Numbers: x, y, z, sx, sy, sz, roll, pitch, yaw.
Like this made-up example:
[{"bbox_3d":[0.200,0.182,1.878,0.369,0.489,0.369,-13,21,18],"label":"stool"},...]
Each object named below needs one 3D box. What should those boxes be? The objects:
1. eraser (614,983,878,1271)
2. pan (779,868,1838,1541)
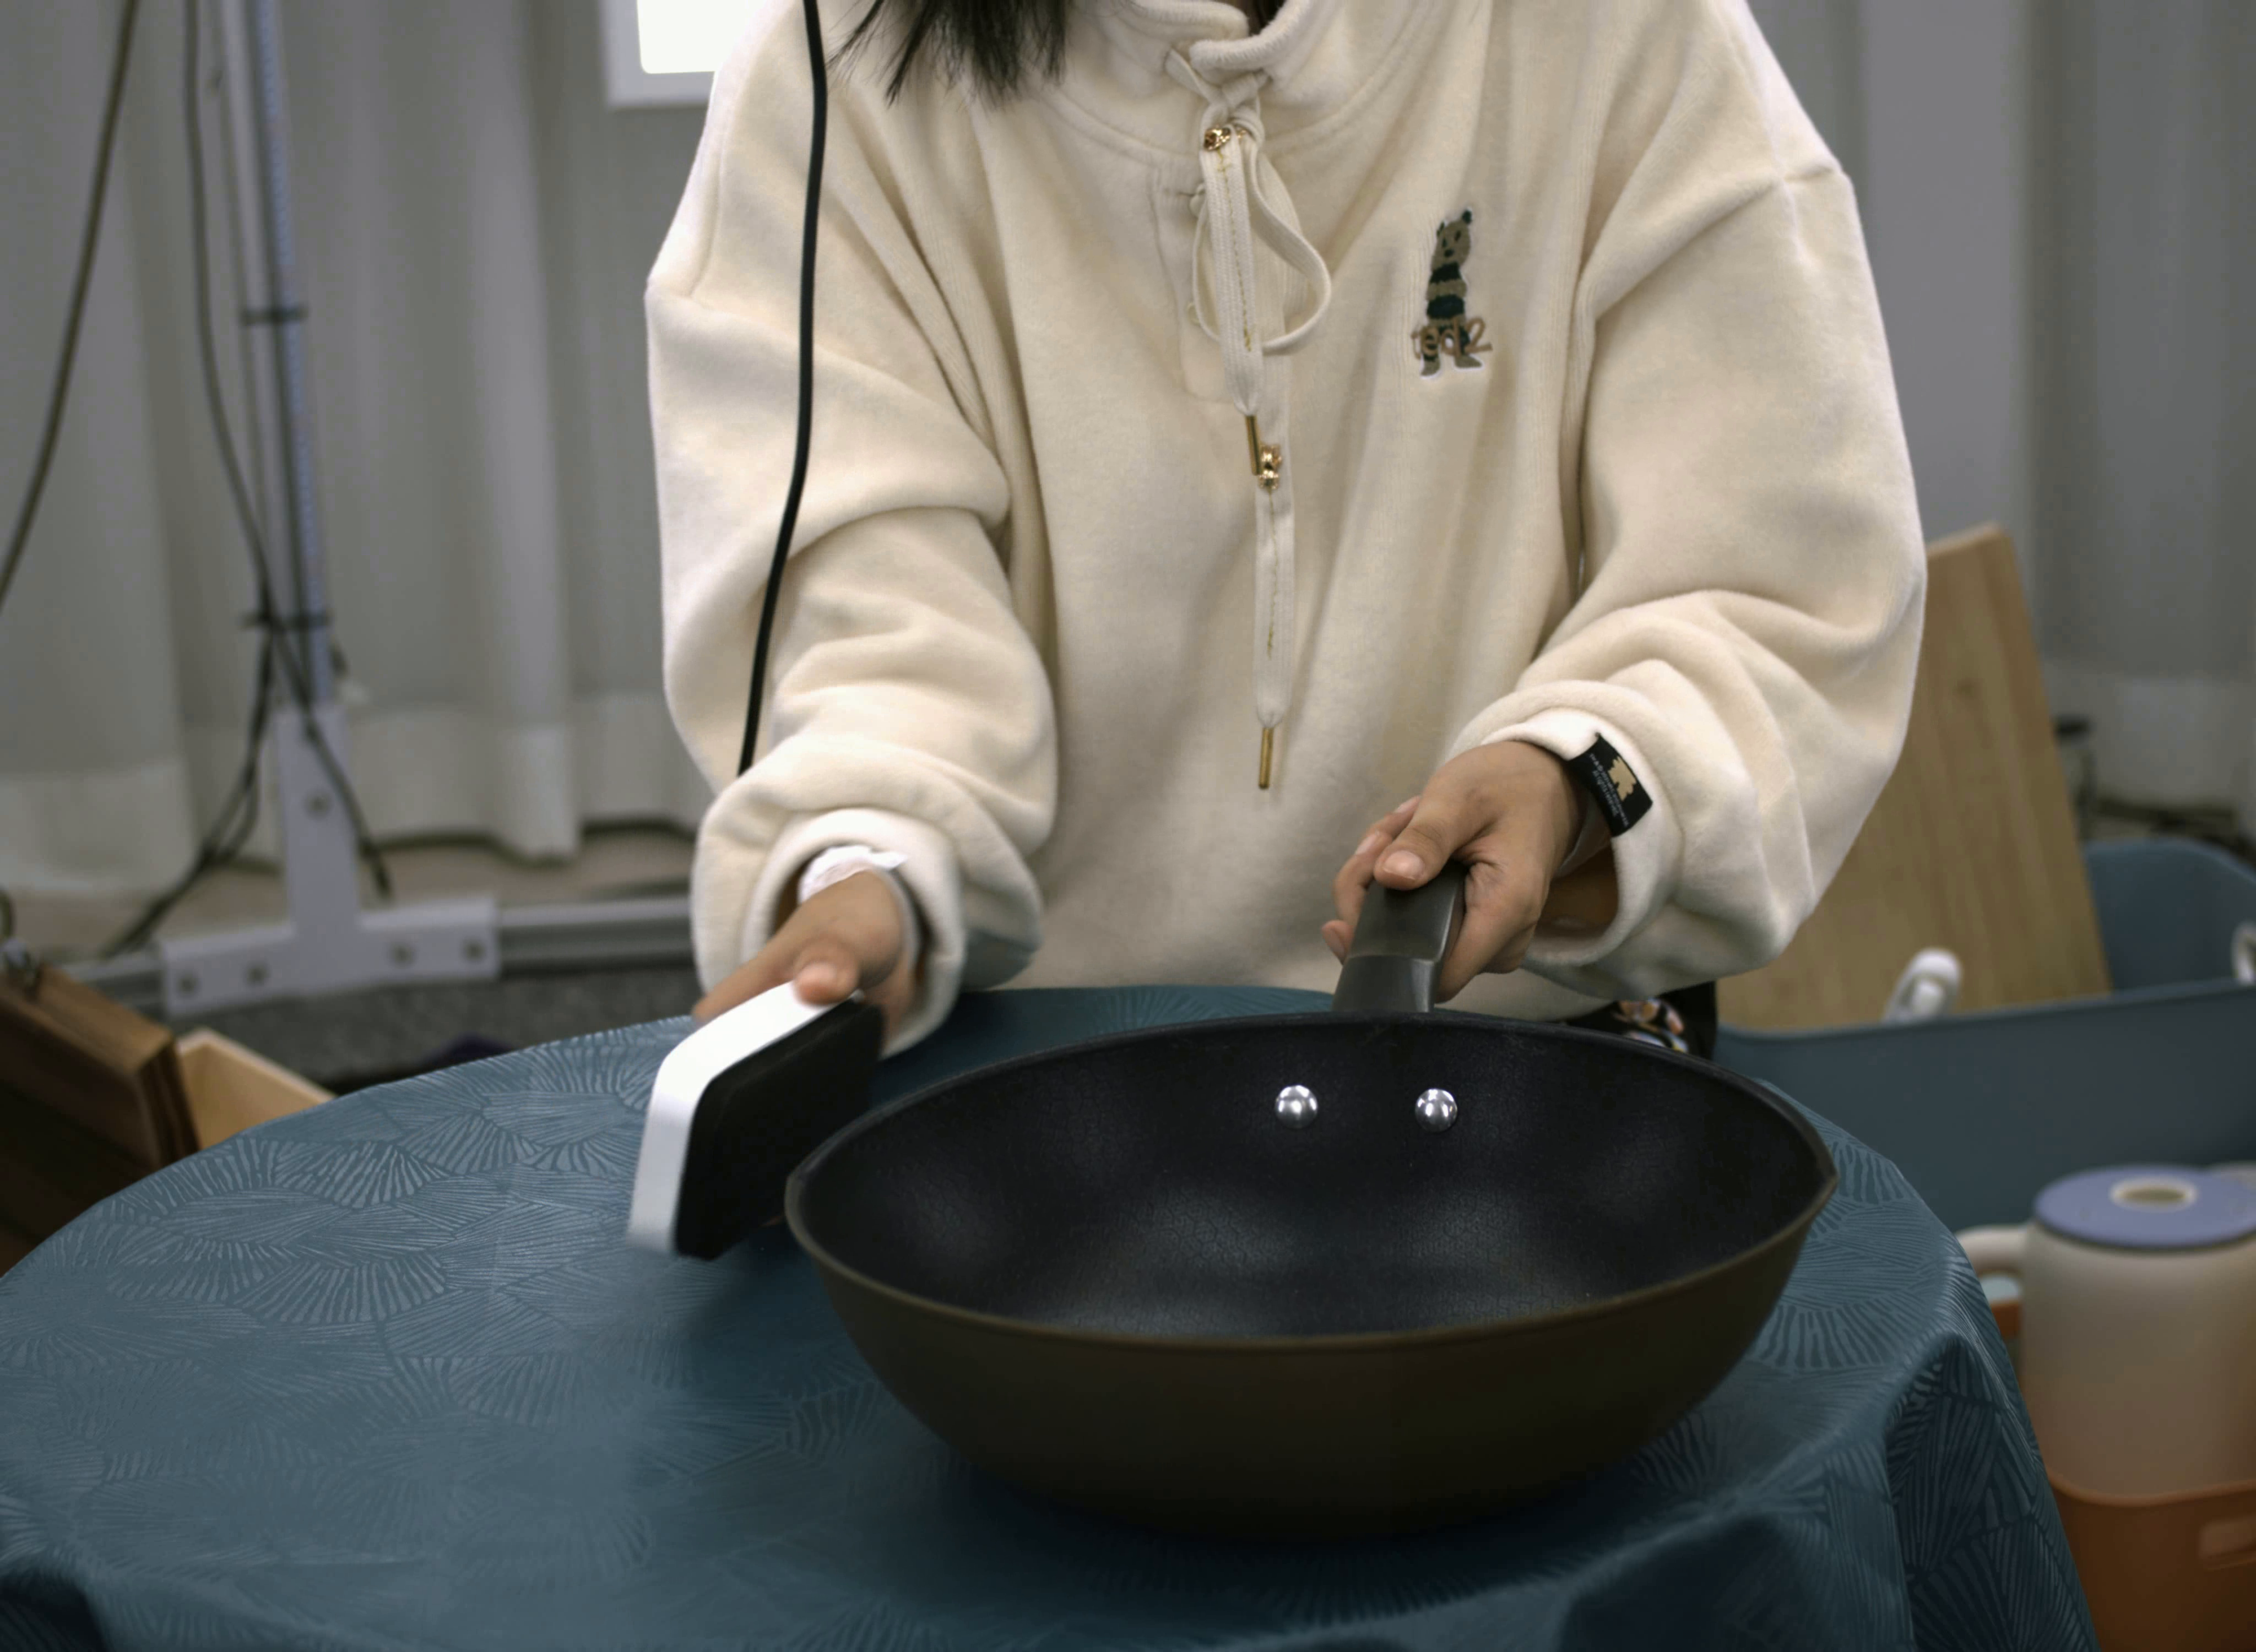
[{"bbox_3d":[-0.115,0.088,1.634,0.034,0.063,0.131,21,17,13],"label":"eraser"},{"bbox_3d":[0.064,0.106,1.575,0.287,0.086,0.465,0,14,10],"label":"pan"}]
